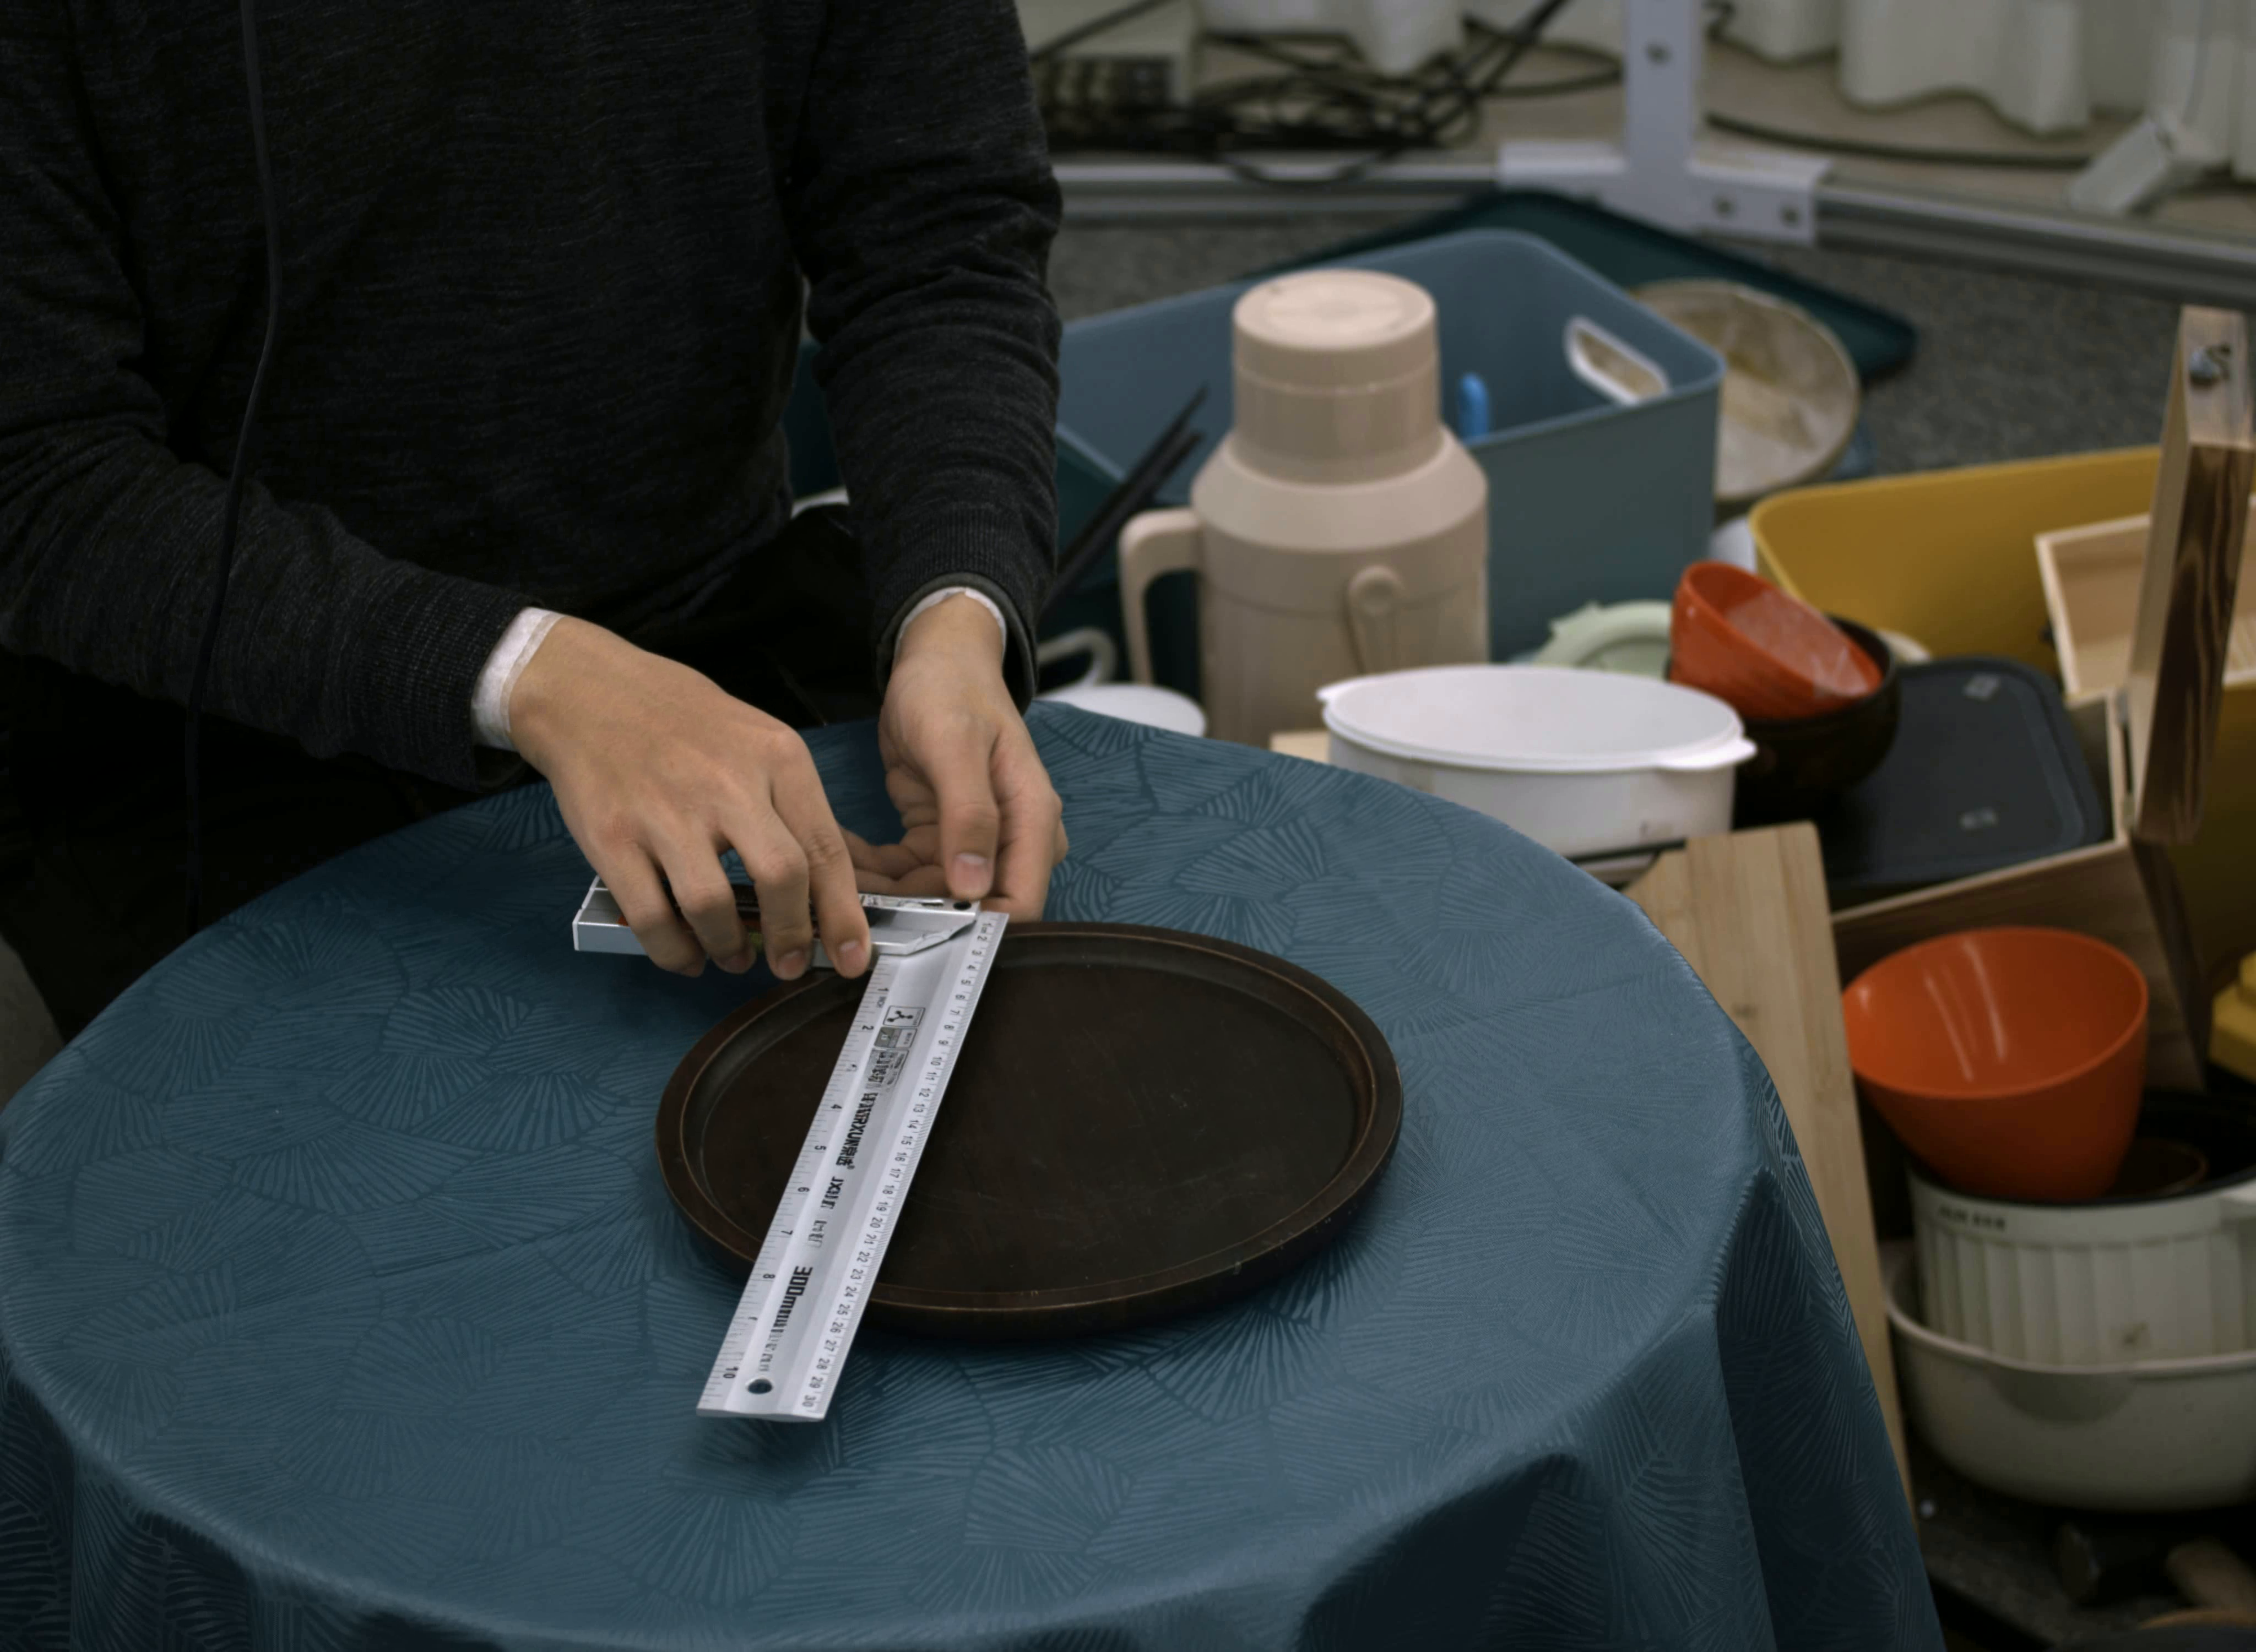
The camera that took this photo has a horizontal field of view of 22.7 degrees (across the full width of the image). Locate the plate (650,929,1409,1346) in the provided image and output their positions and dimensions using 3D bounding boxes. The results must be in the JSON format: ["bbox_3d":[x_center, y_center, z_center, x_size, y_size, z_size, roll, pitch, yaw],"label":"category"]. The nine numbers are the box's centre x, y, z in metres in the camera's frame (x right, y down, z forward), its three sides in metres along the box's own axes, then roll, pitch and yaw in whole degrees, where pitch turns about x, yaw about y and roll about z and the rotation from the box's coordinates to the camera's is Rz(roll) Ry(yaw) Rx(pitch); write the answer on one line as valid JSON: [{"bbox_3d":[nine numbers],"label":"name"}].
[{"bbox_3d":[-0.032,0.101,1.878,0.253,0.029,0.259,-2,28,1],"label":"plate"}]

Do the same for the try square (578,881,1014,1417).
[{"bbox_3d":[-0.140,0.102,1.860,0.151,0.016,0.318,3,29,10],"label":"try square"}]
